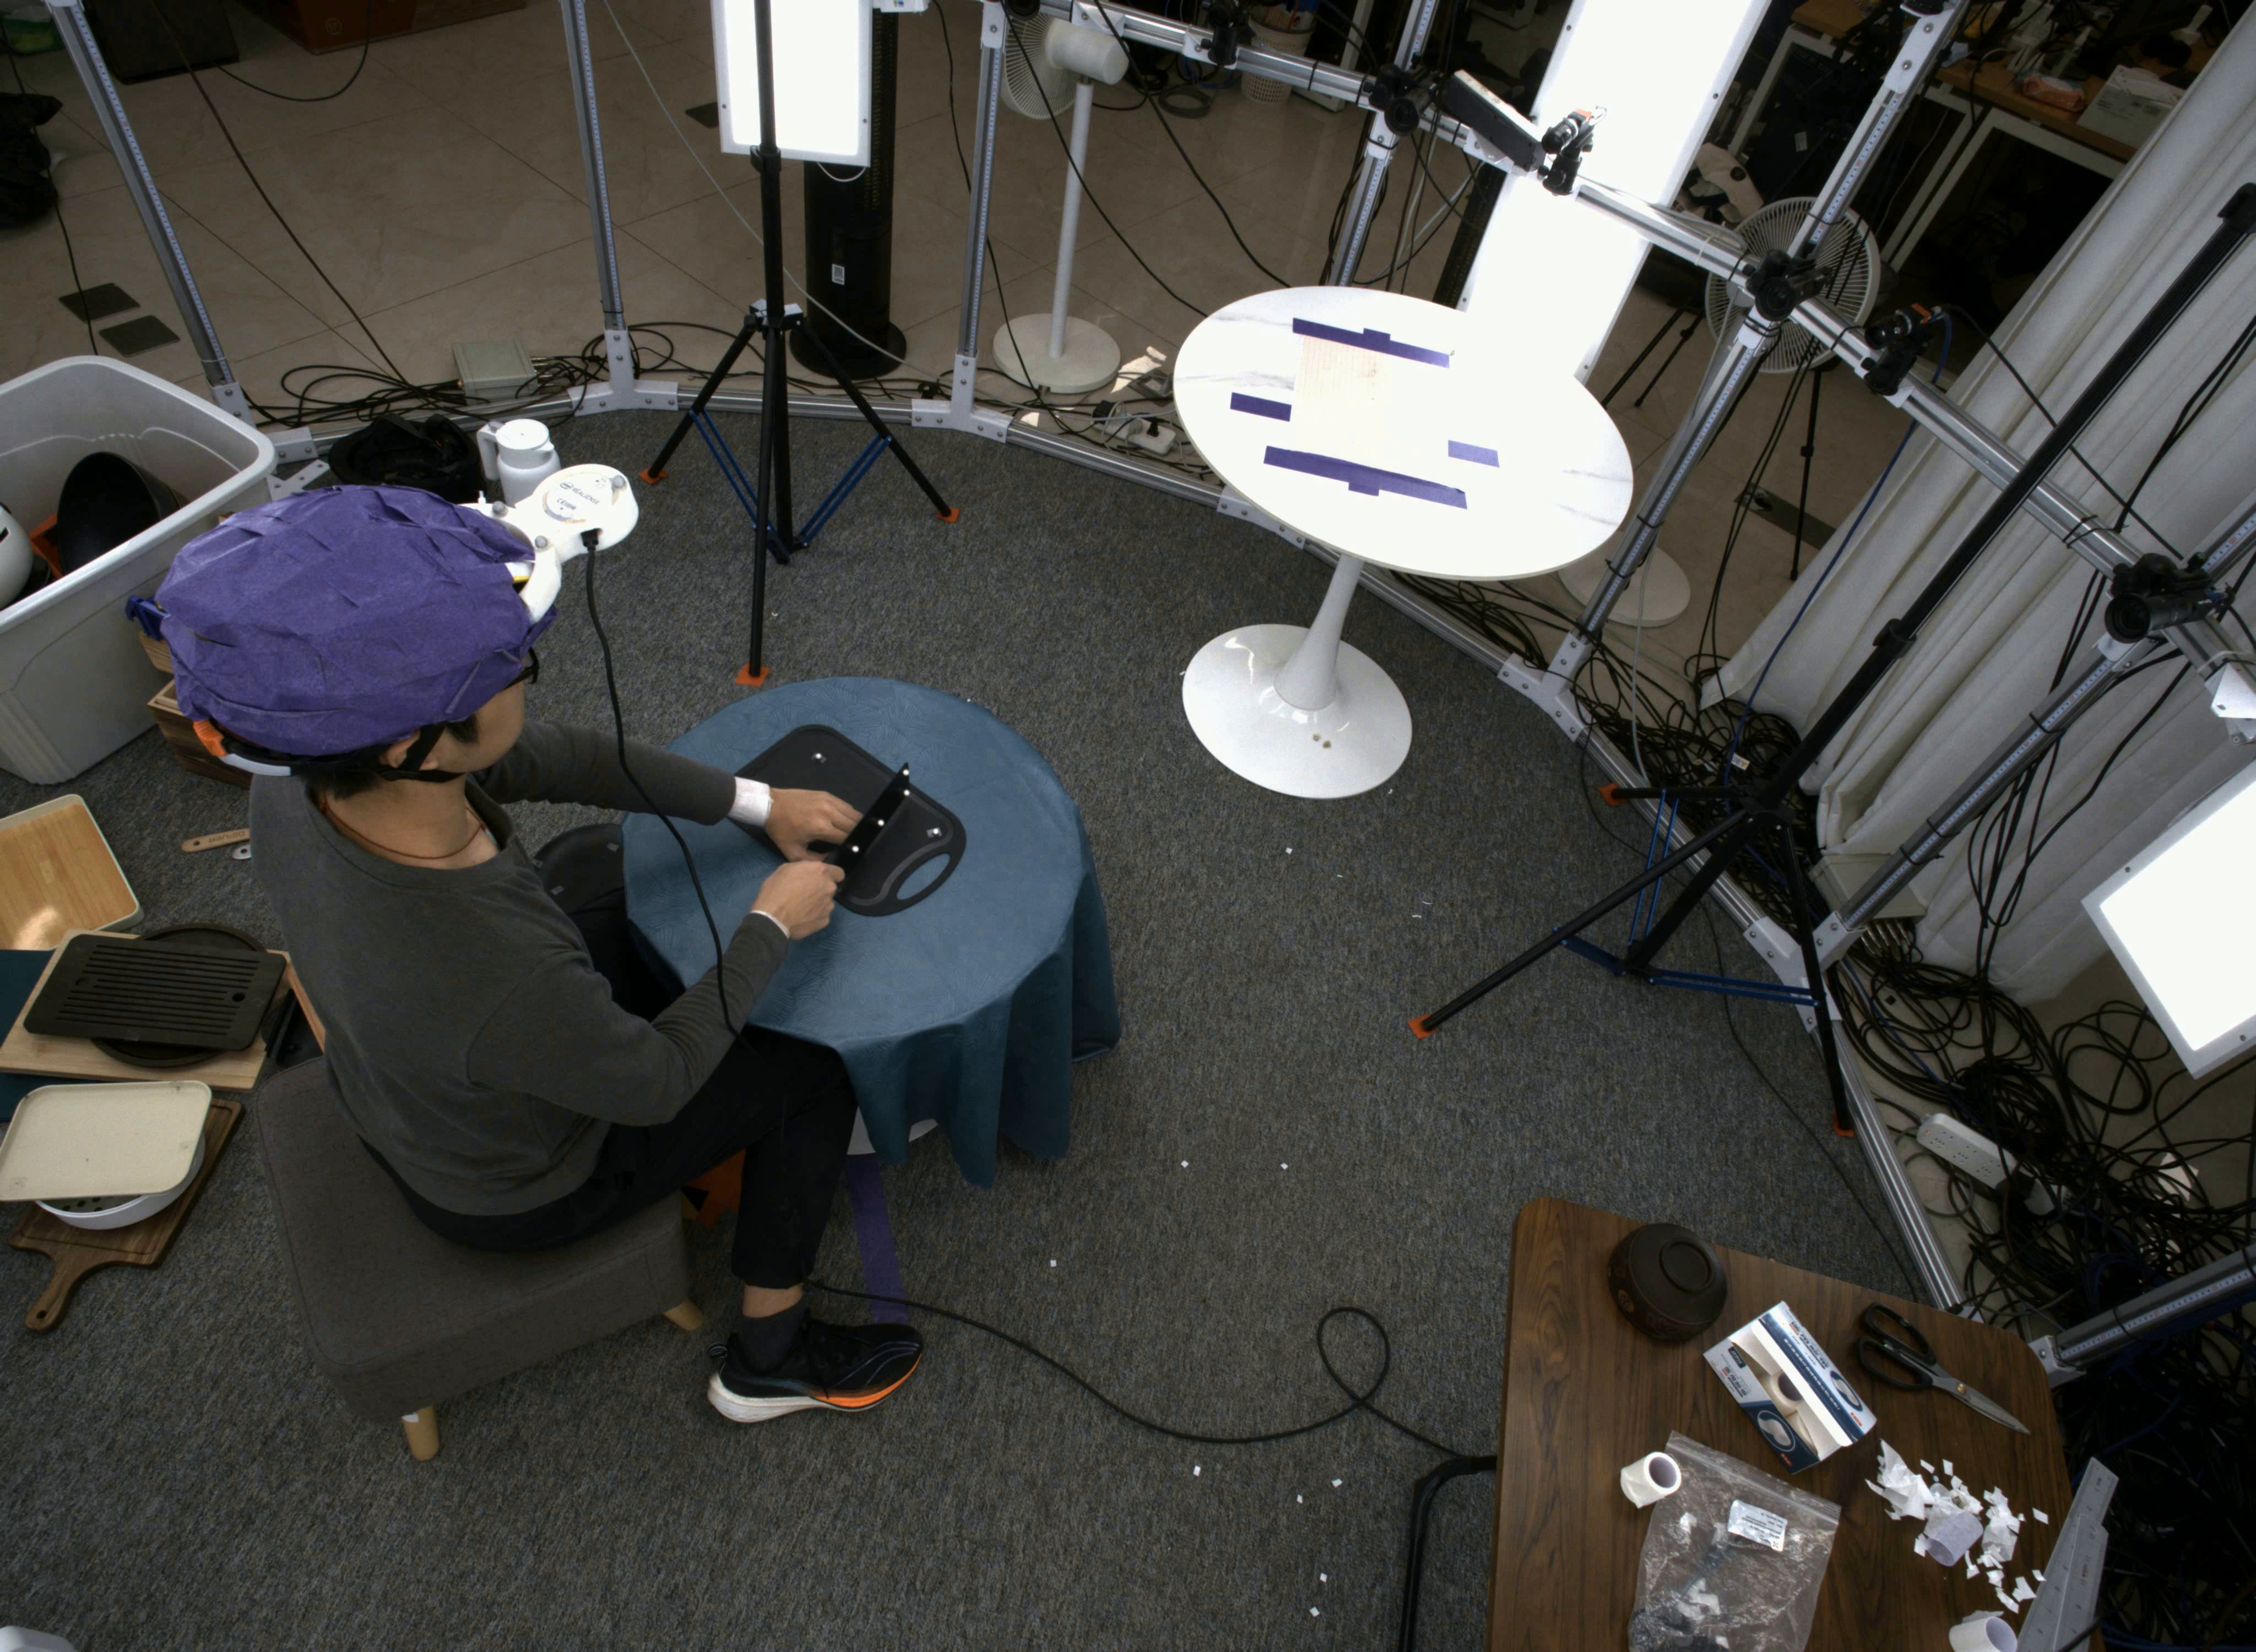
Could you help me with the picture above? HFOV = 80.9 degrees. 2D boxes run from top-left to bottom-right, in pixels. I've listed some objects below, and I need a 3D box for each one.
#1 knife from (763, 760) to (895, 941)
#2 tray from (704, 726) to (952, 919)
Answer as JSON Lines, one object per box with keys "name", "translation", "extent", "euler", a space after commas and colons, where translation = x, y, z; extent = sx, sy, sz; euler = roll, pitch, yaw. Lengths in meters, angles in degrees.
{"name": "knife", "translation": [-0.375, 0.031, 1.656], "extent": [0.020, 0.083, 0.300], "euler": [20, 48, 13]}
{"name": "tray", "translation": [-0.396, -0.009, 1.745], "extent": [0.319, 0.010, 0.211], "euler": [35, 54, 12]}
